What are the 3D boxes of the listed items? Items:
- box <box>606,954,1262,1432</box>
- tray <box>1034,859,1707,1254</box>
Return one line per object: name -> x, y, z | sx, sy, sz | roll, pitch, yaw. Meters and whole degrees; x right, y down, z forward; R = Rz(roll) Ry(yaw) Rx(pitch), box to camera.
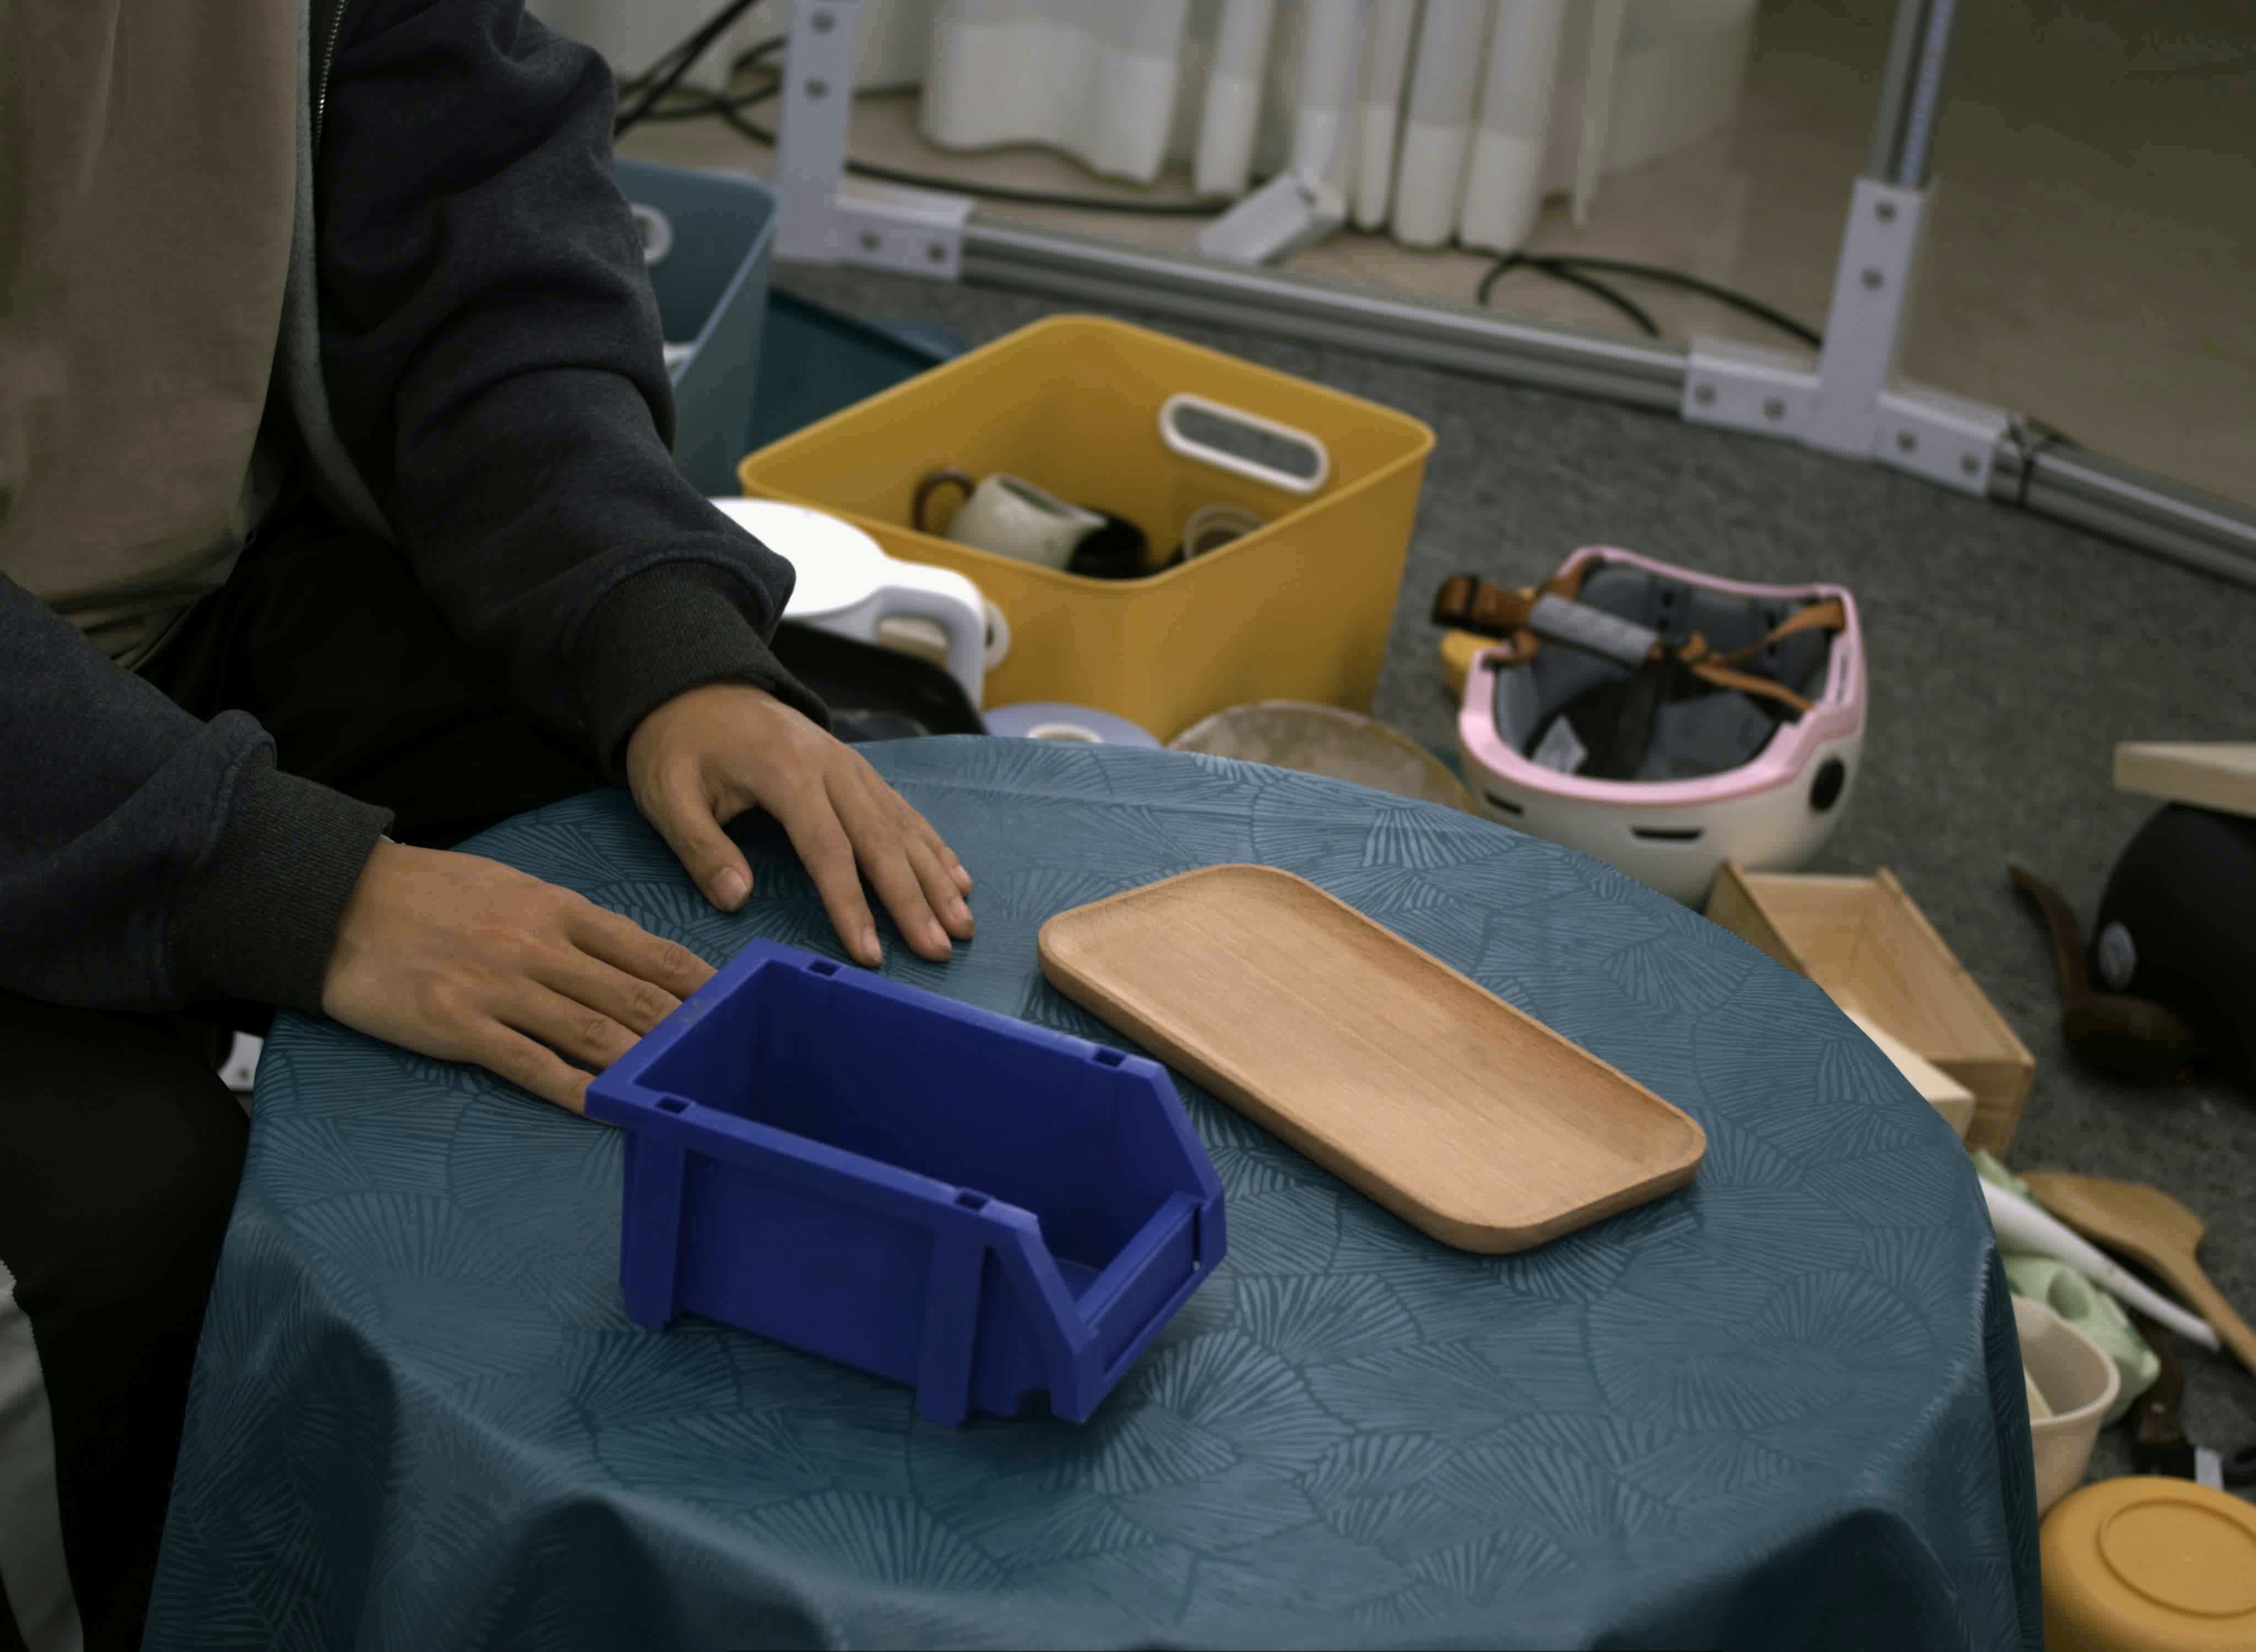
box -> -0.060, 0.120, 1.705 | 0.180, 0.081, 0.124 | 14, 27, 22
tray -> 0.083, 0.079, 1.887 | 0.130, 0.023, 0.253 | -14, 32, -39
